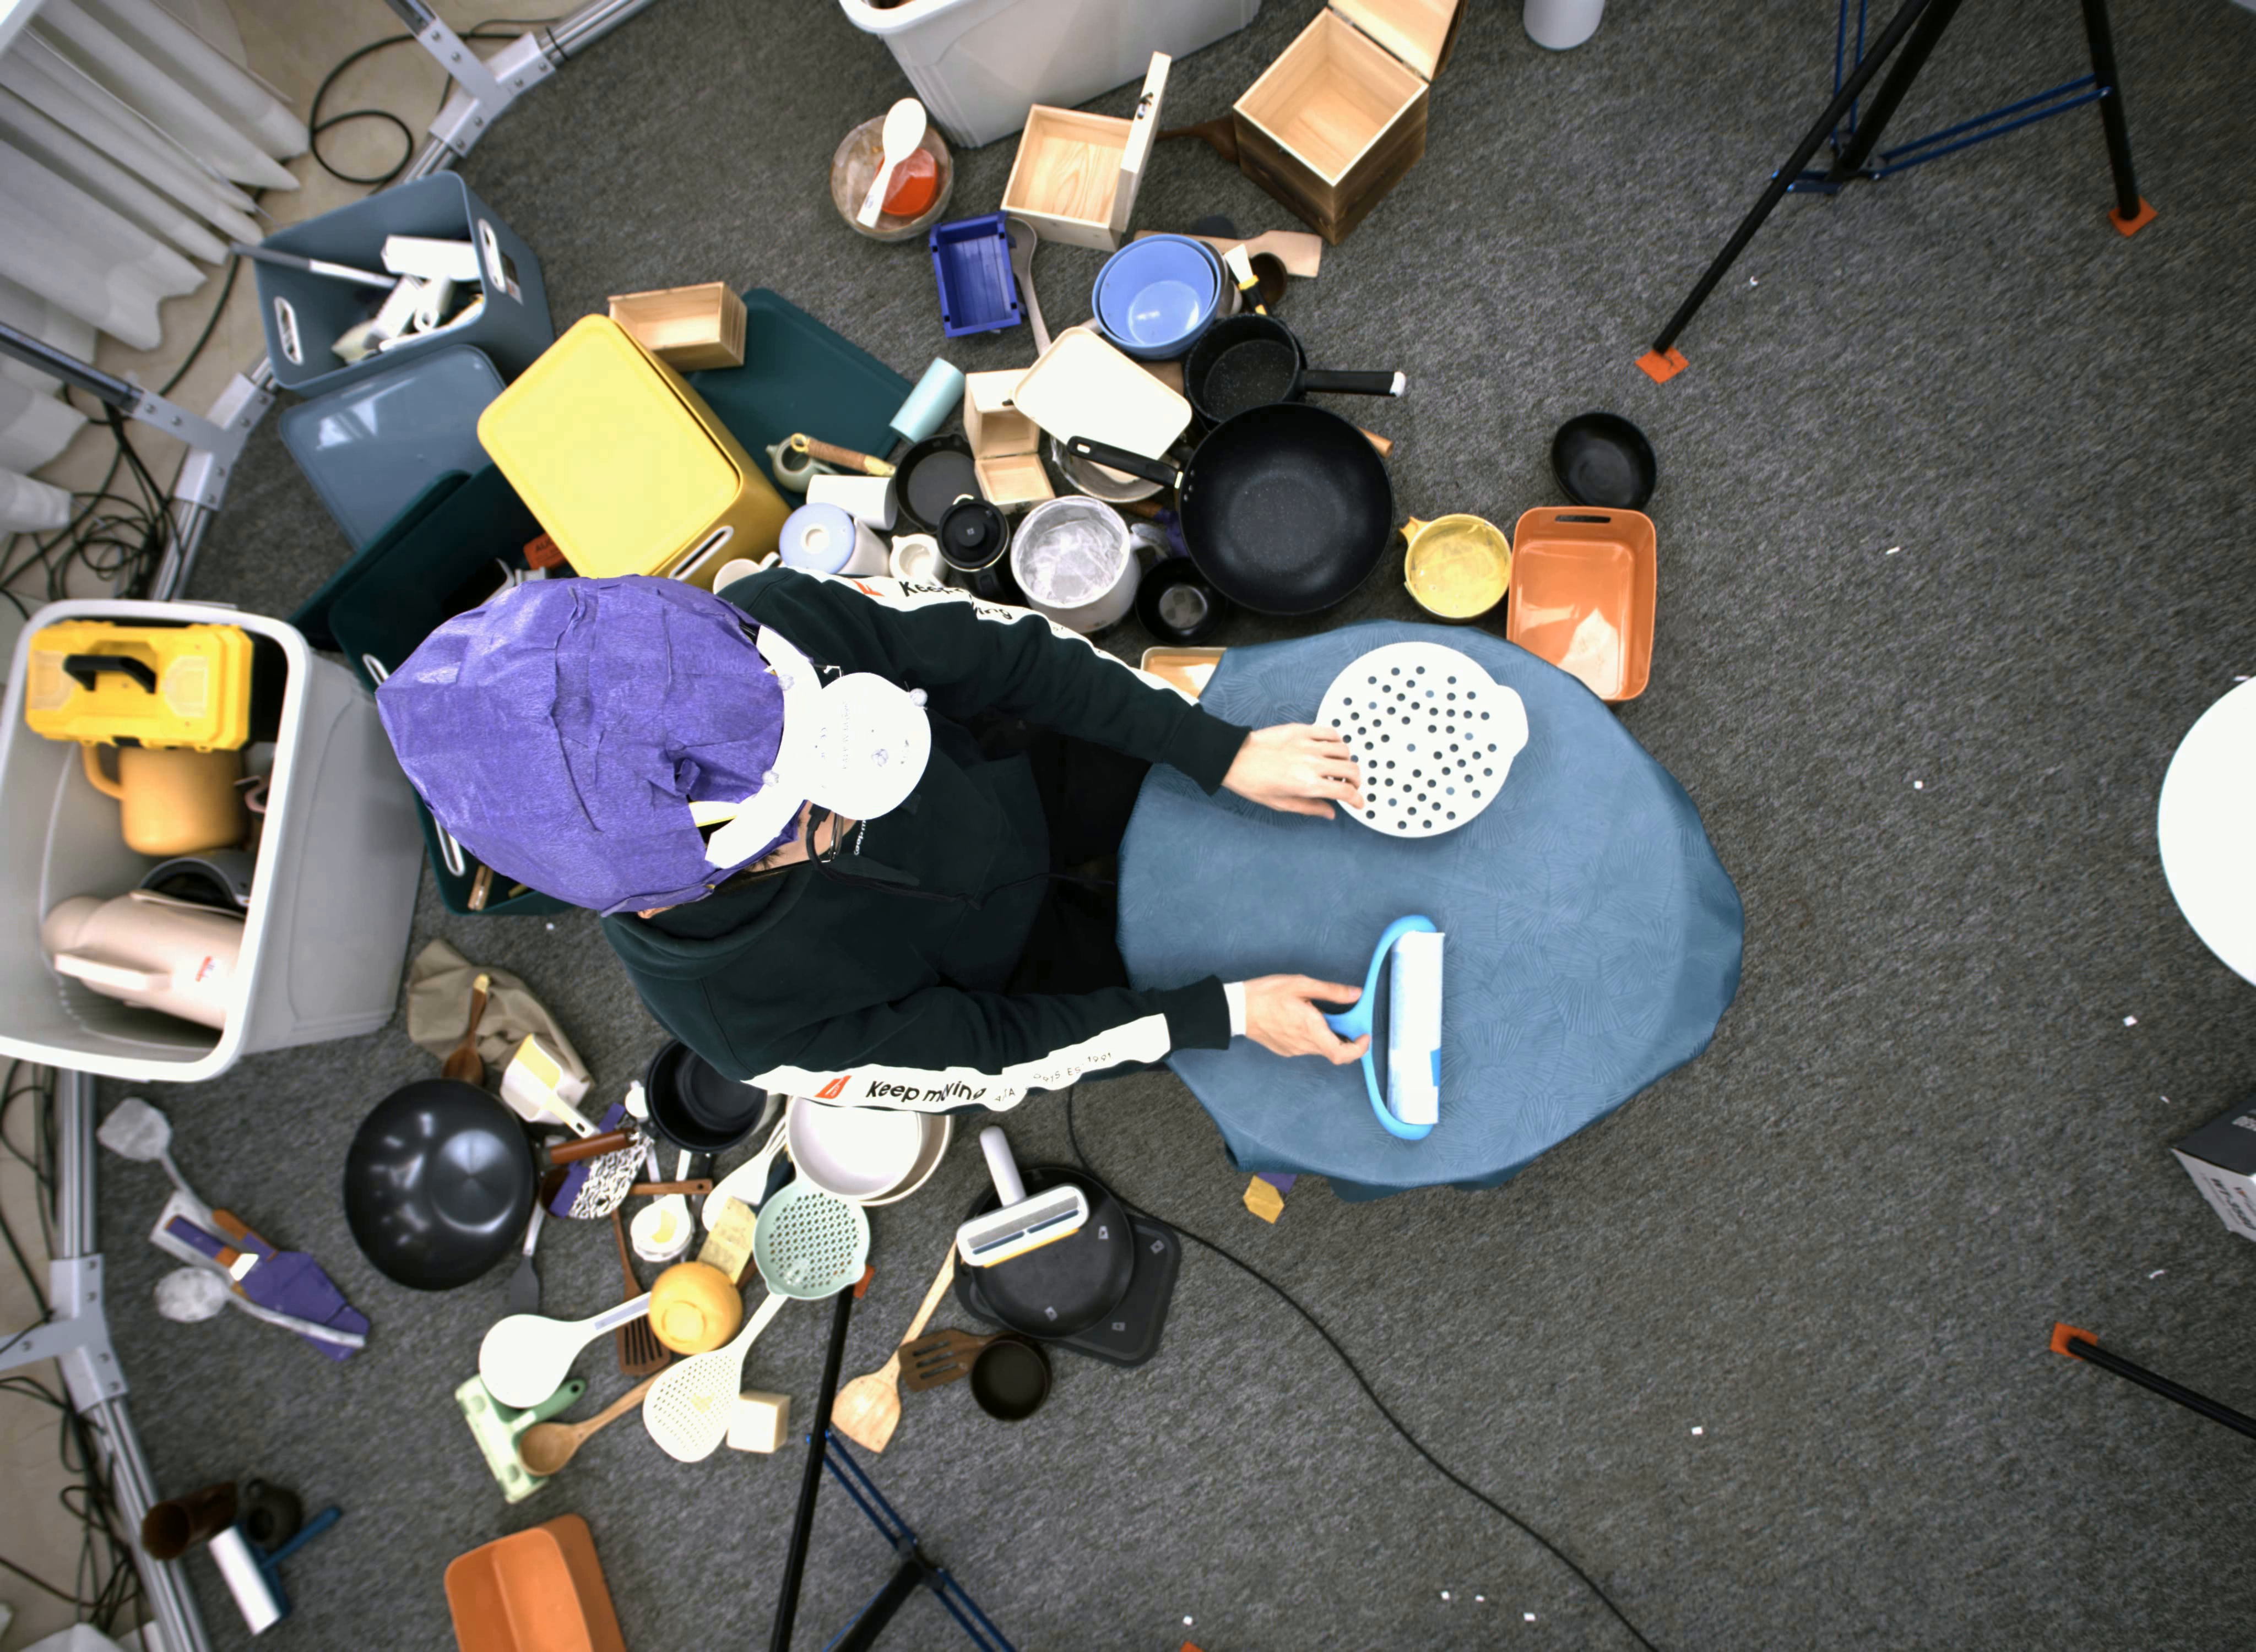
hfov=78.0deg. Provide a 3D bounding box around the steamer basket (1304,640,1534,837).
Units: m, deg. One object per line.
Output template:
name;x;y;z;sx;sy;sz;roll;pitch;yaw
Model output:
steamer basket;0.300;-0.089;1.424;0.232;0.069;0.200;-11;84;10

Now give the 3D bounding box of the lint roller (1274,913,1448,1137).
lint roller;0.240;0.206;1.426;0.181;0.068;0.228;-4;88;9
